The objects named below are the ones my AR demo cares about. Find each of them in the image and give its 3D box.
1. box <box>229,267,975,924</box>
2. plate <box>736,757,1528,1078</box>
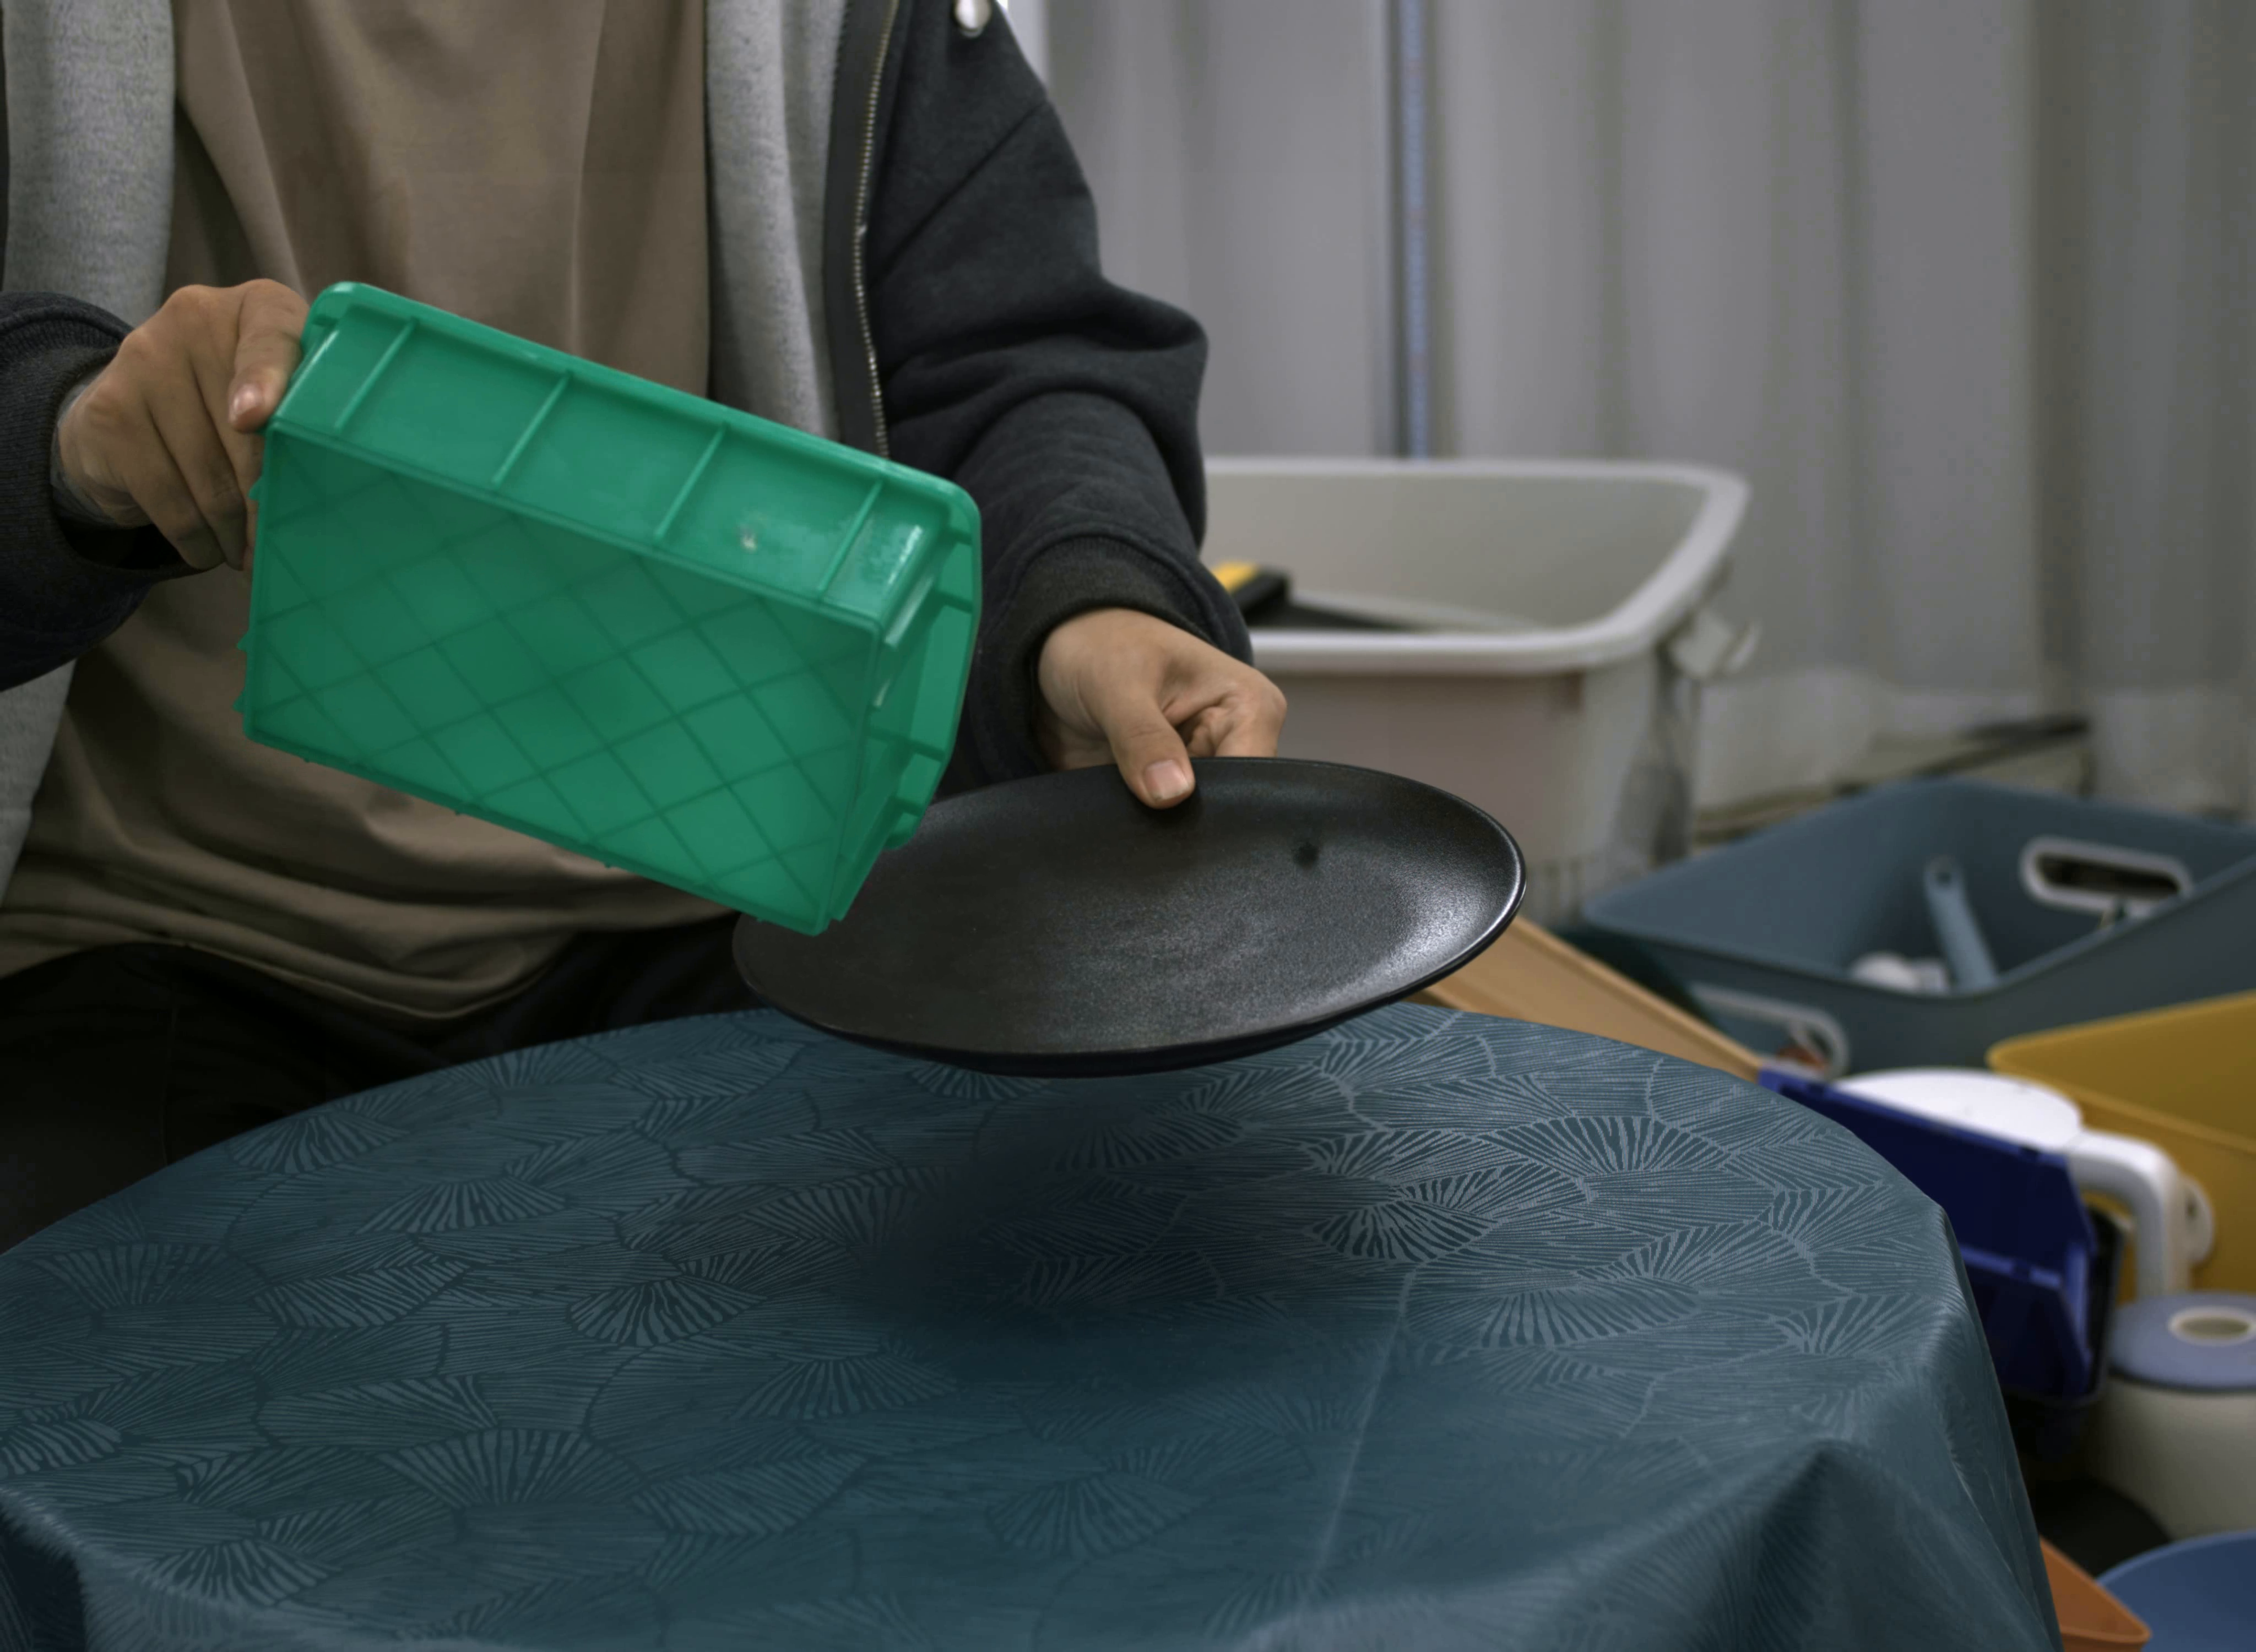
[{"bbox_3d":[-0.155,-0.060,1.550,0.210,0.137,0.066,19,40,5],"label":"box"},{"bbox_3d":[0.001,0.031,1.672,0.243,0.023,0.246,-6,20,2],"label":"plate"}]
